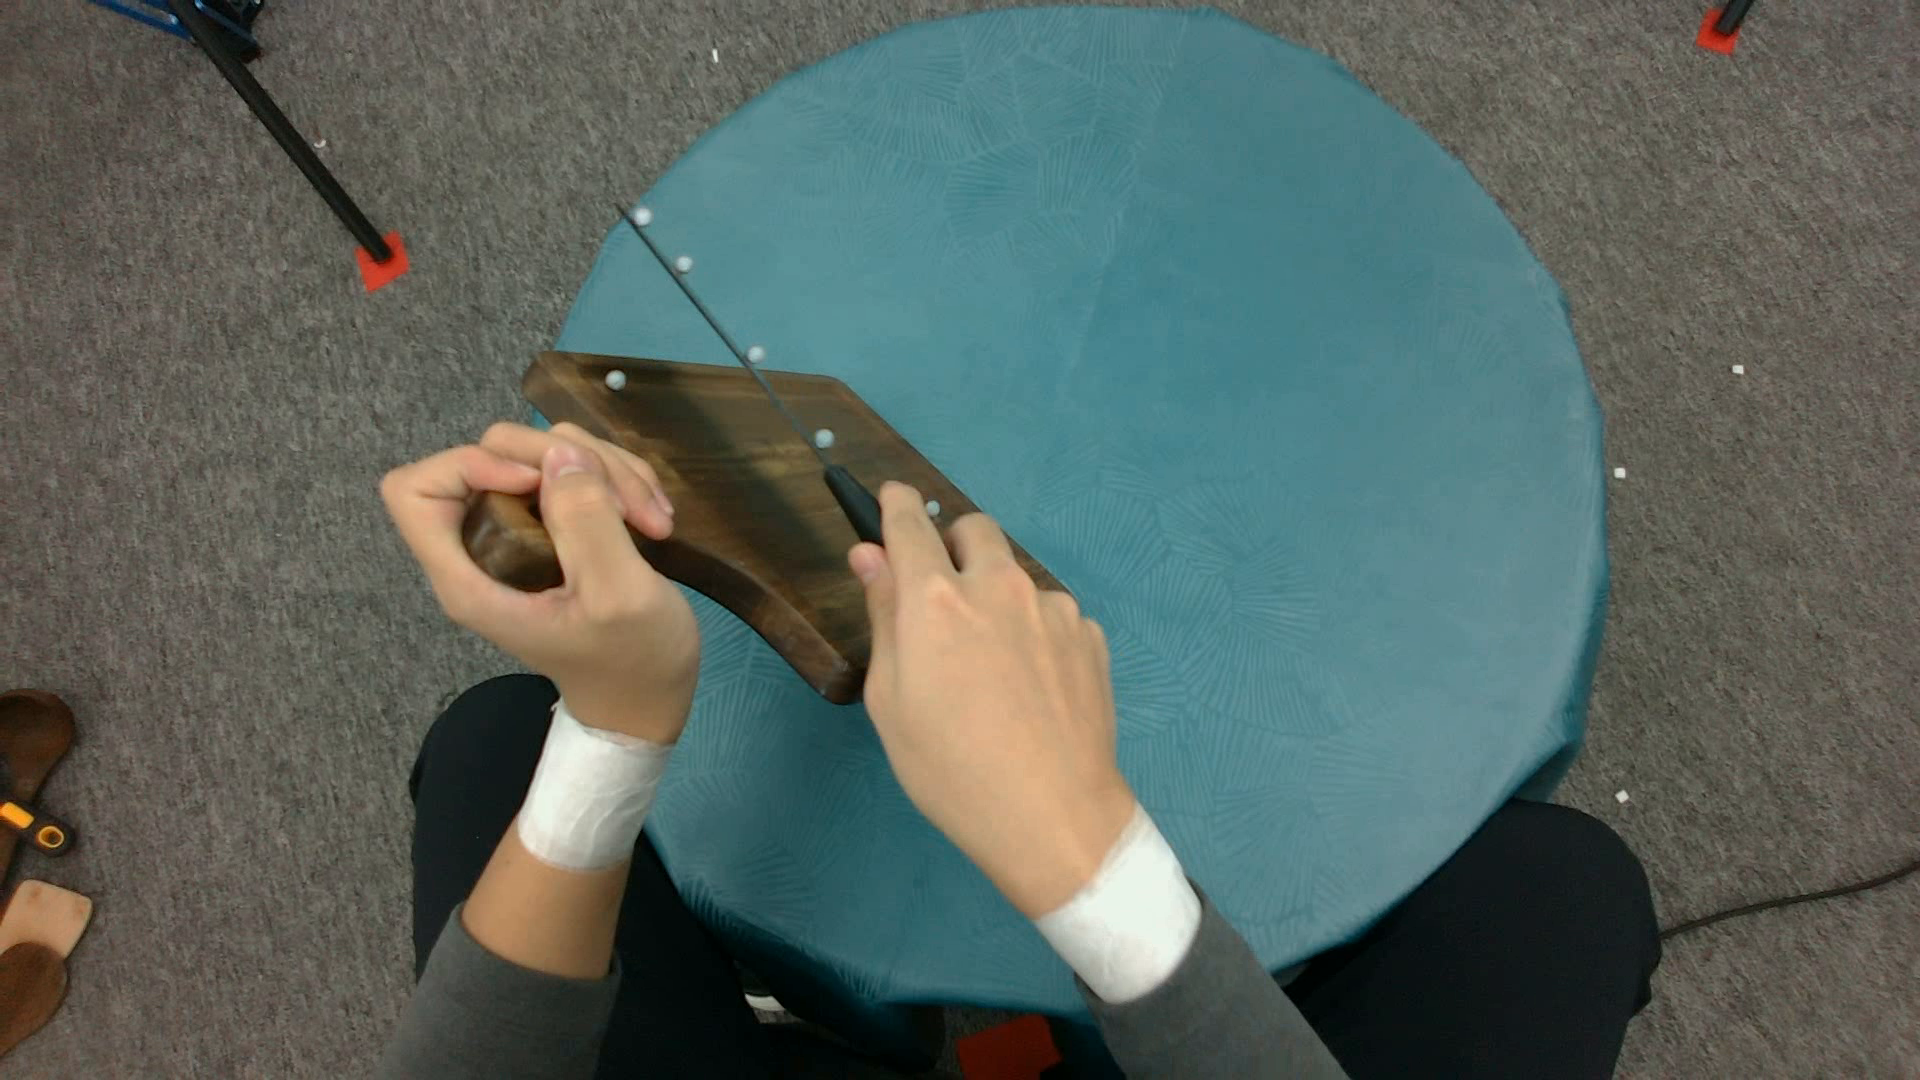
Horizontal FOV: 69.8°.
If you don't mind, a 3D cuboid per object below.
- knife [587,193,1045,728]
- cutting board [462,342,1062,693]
[{"bbox_3d":[-0.065,-0.039,0.563,0.021,0.081,0.303,-41,63,-1],"label":"knife"},{"bbox_3d":[-0.084,-0.018,0.601,0.201,0.353,0.023,42,108,15],"label":"cutting board"}]
